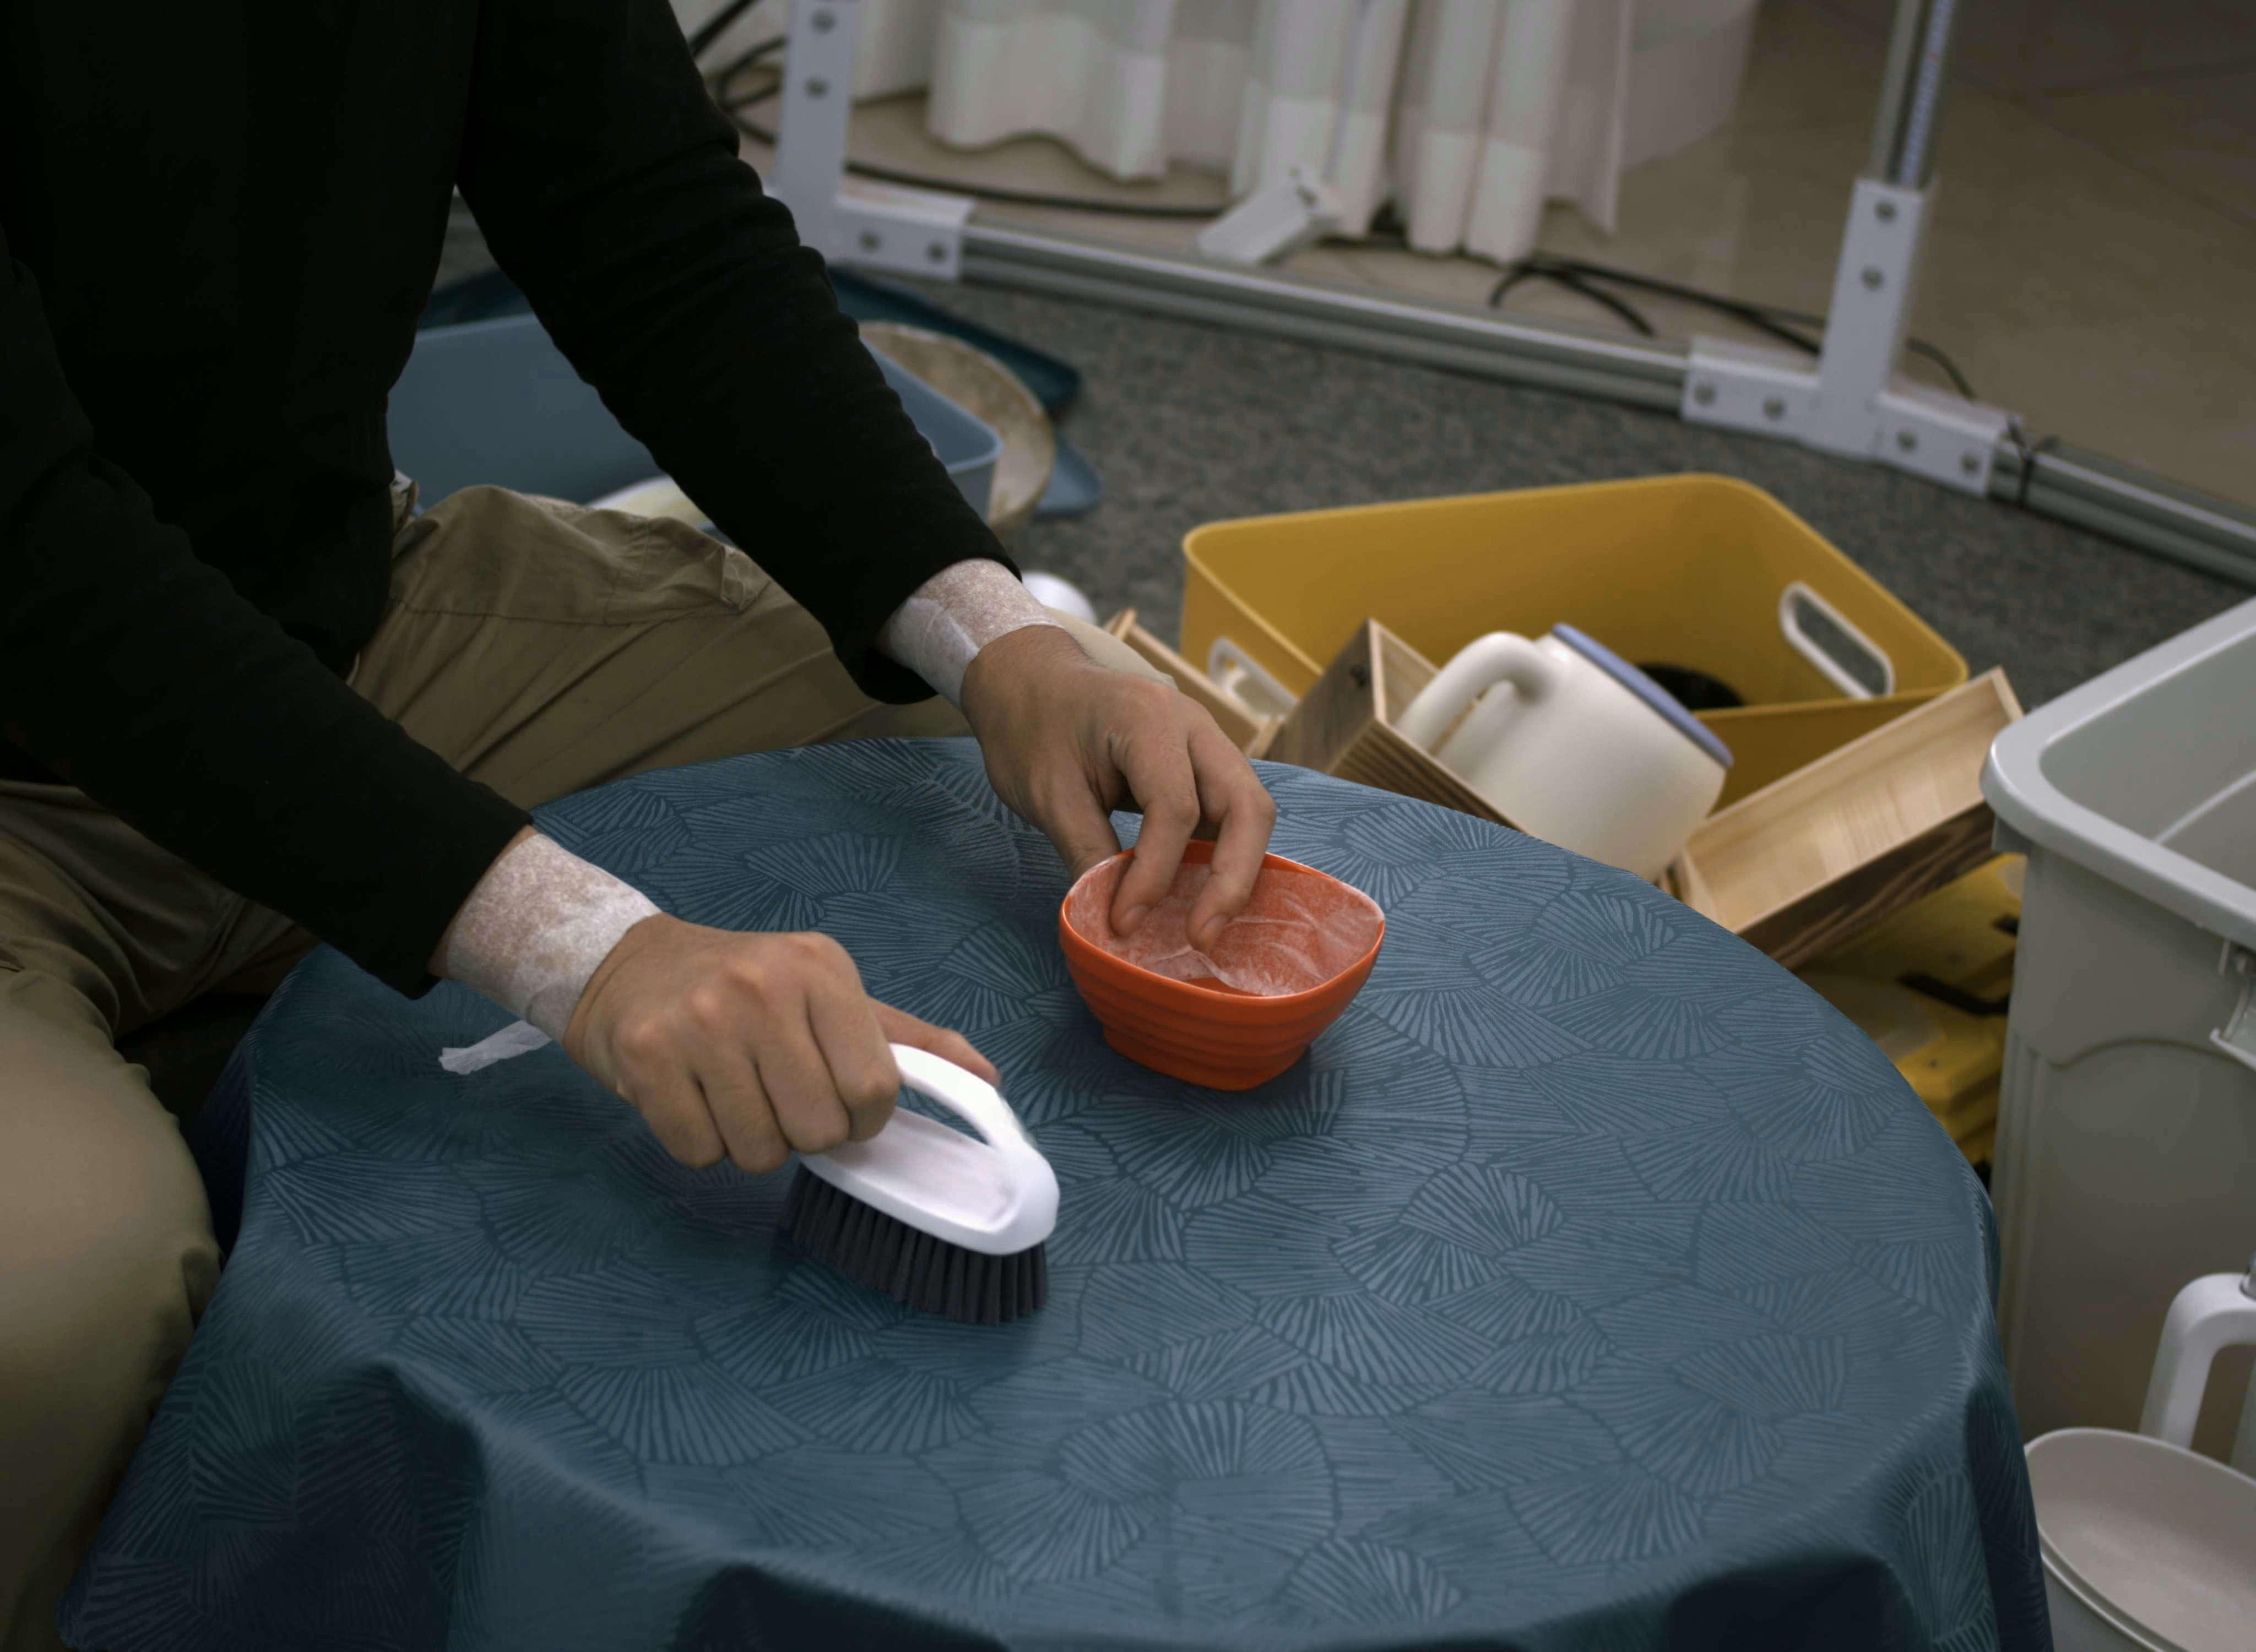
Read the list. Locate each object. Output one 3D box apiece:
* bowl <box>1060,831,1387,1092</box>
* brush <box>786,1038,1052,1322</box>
[{"bbox_3d":[0.031,0.052,1.890,0.118,0.051,0.119,6,29,-4],"label":"bowl"},{"bbox_3d":[-0.067,0.109,1.734,0.100,0.072,0.050,26,33,33],"label":"brush"}]
